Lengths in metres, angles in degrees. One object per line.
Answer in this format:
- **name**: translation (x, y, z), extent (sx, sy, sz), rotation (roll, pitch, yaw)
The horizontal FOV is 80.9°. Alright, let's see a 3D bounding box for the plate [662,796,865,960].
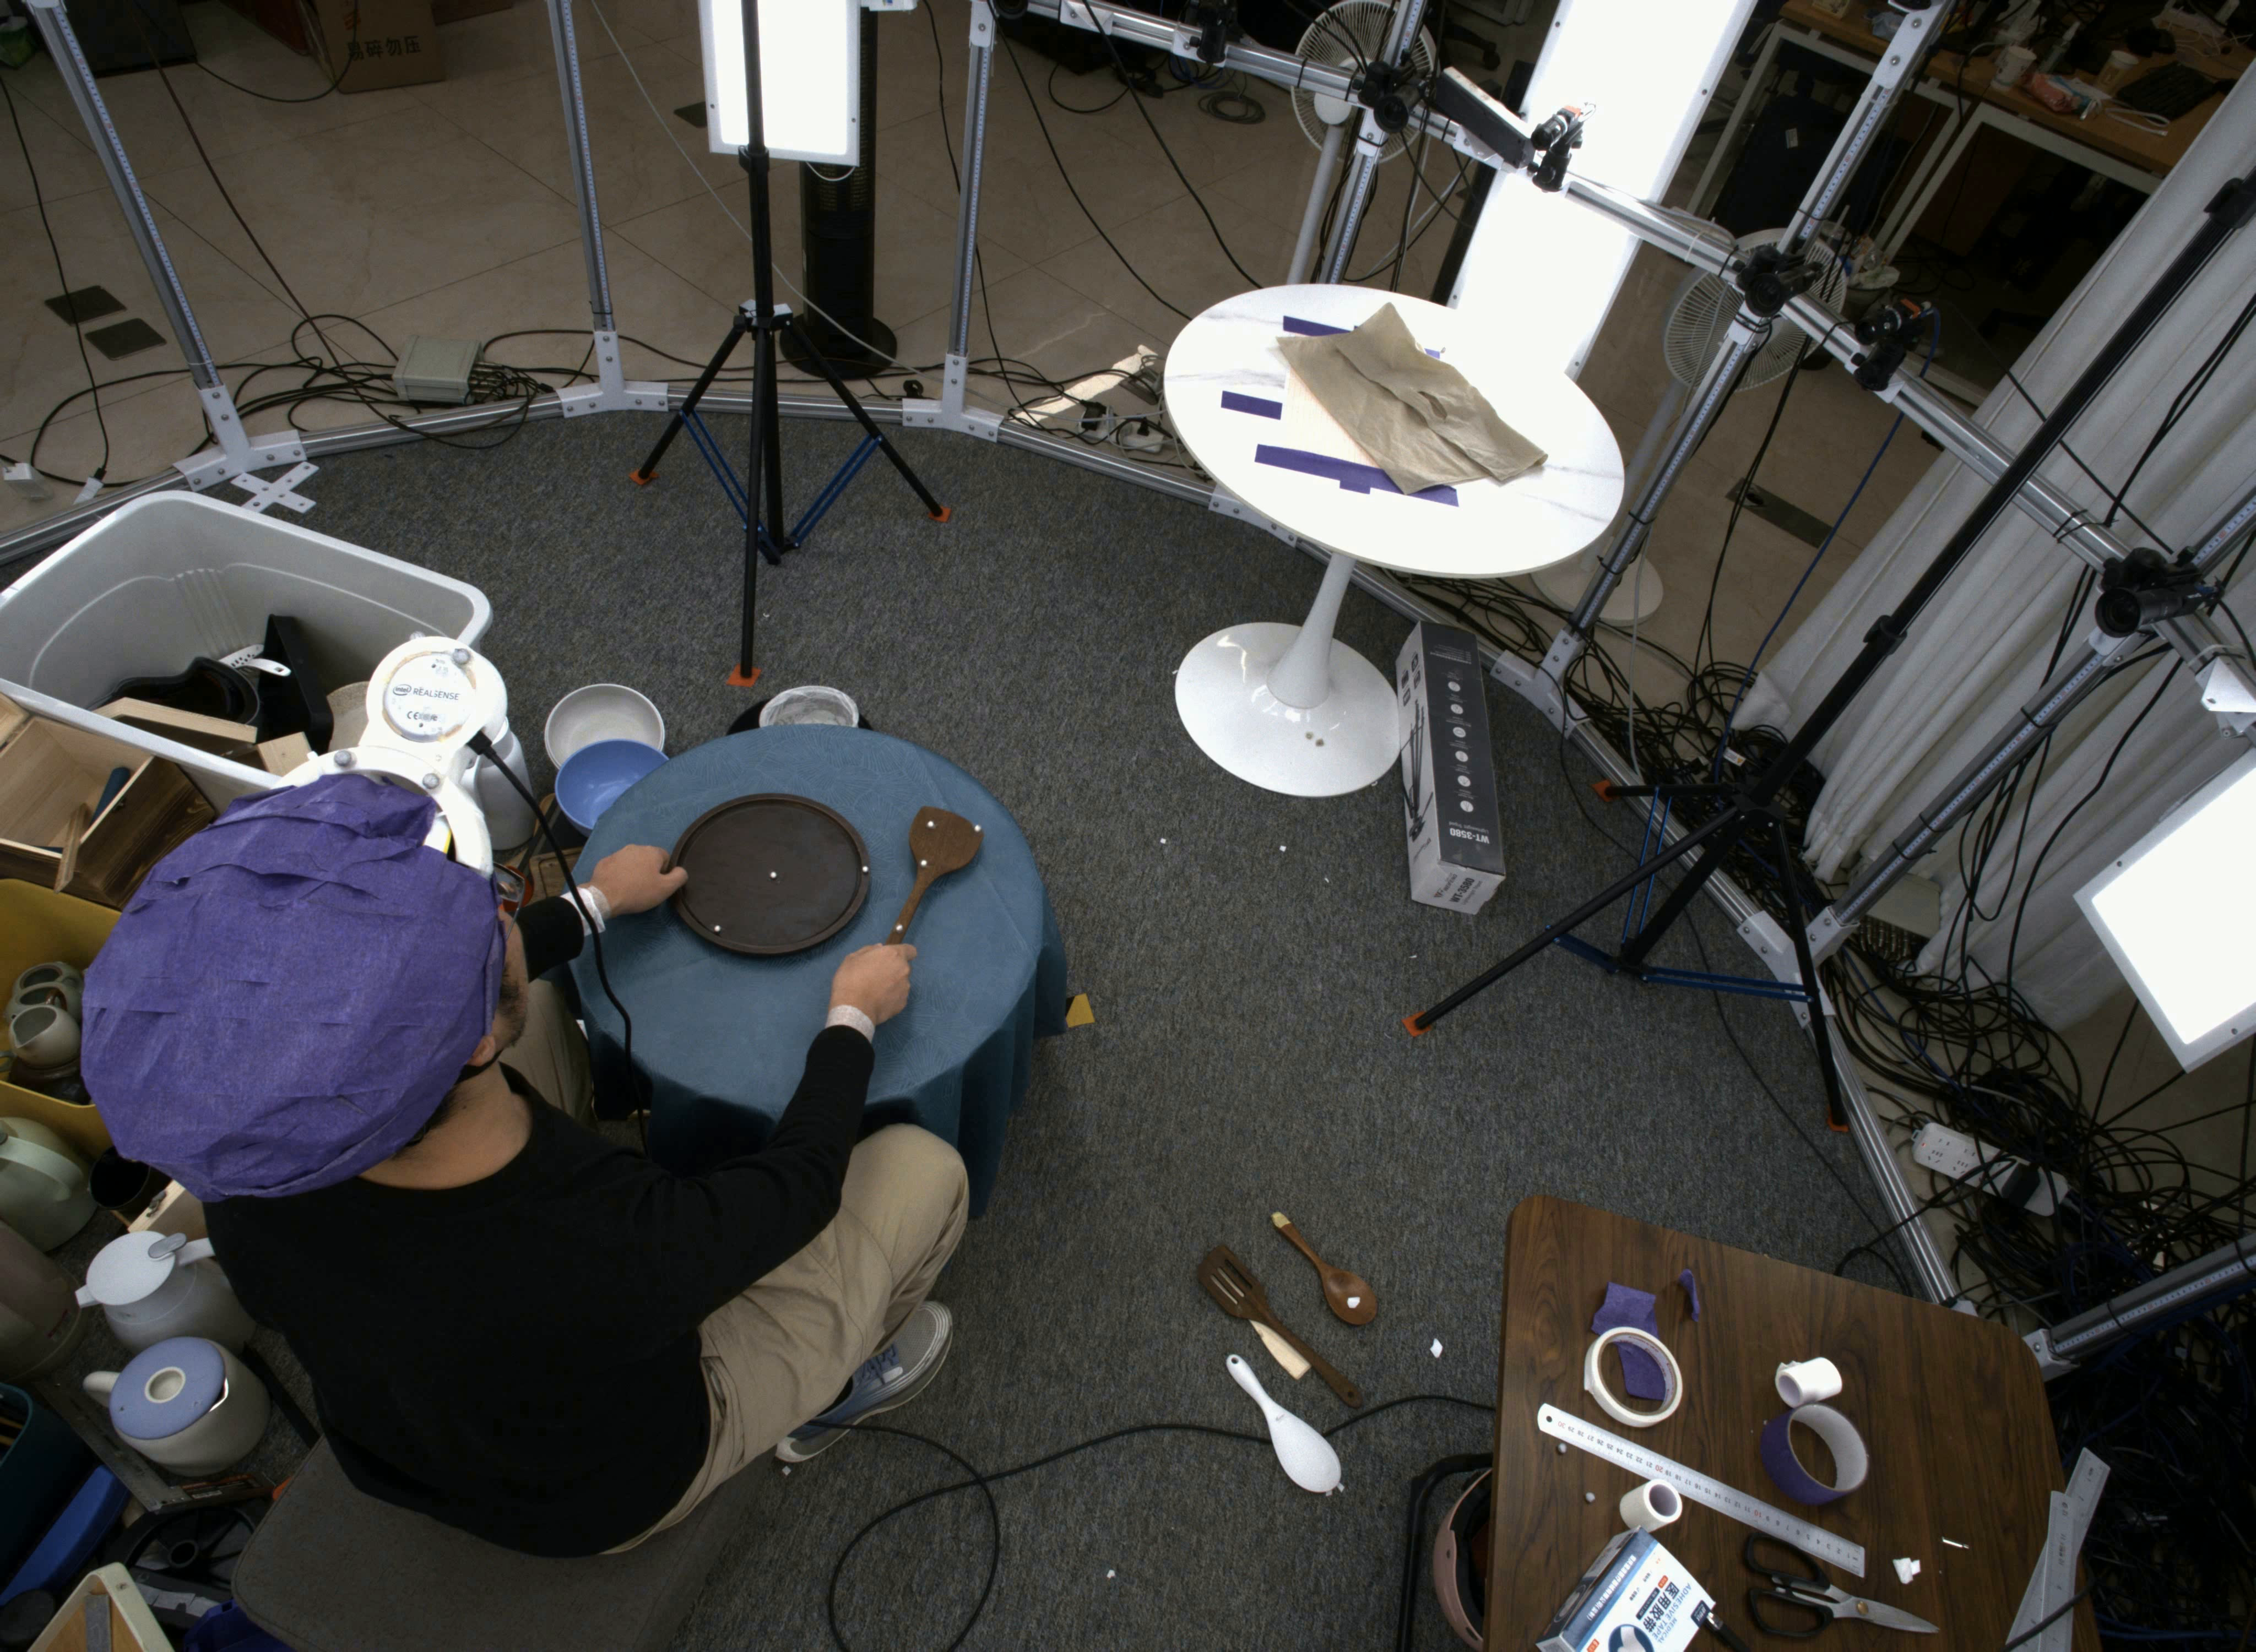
- **plate**: translation (-0.463, 0.062, 1.648), extent (0.254, 0.029, 0.250), rotation (9, 51, -9)

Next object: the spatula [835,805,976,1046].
- **spatula**: translation (-0.285, 0.114, 1.621), extent (0.096, 0.016, 0.381), rotation (23, 46, -5)
